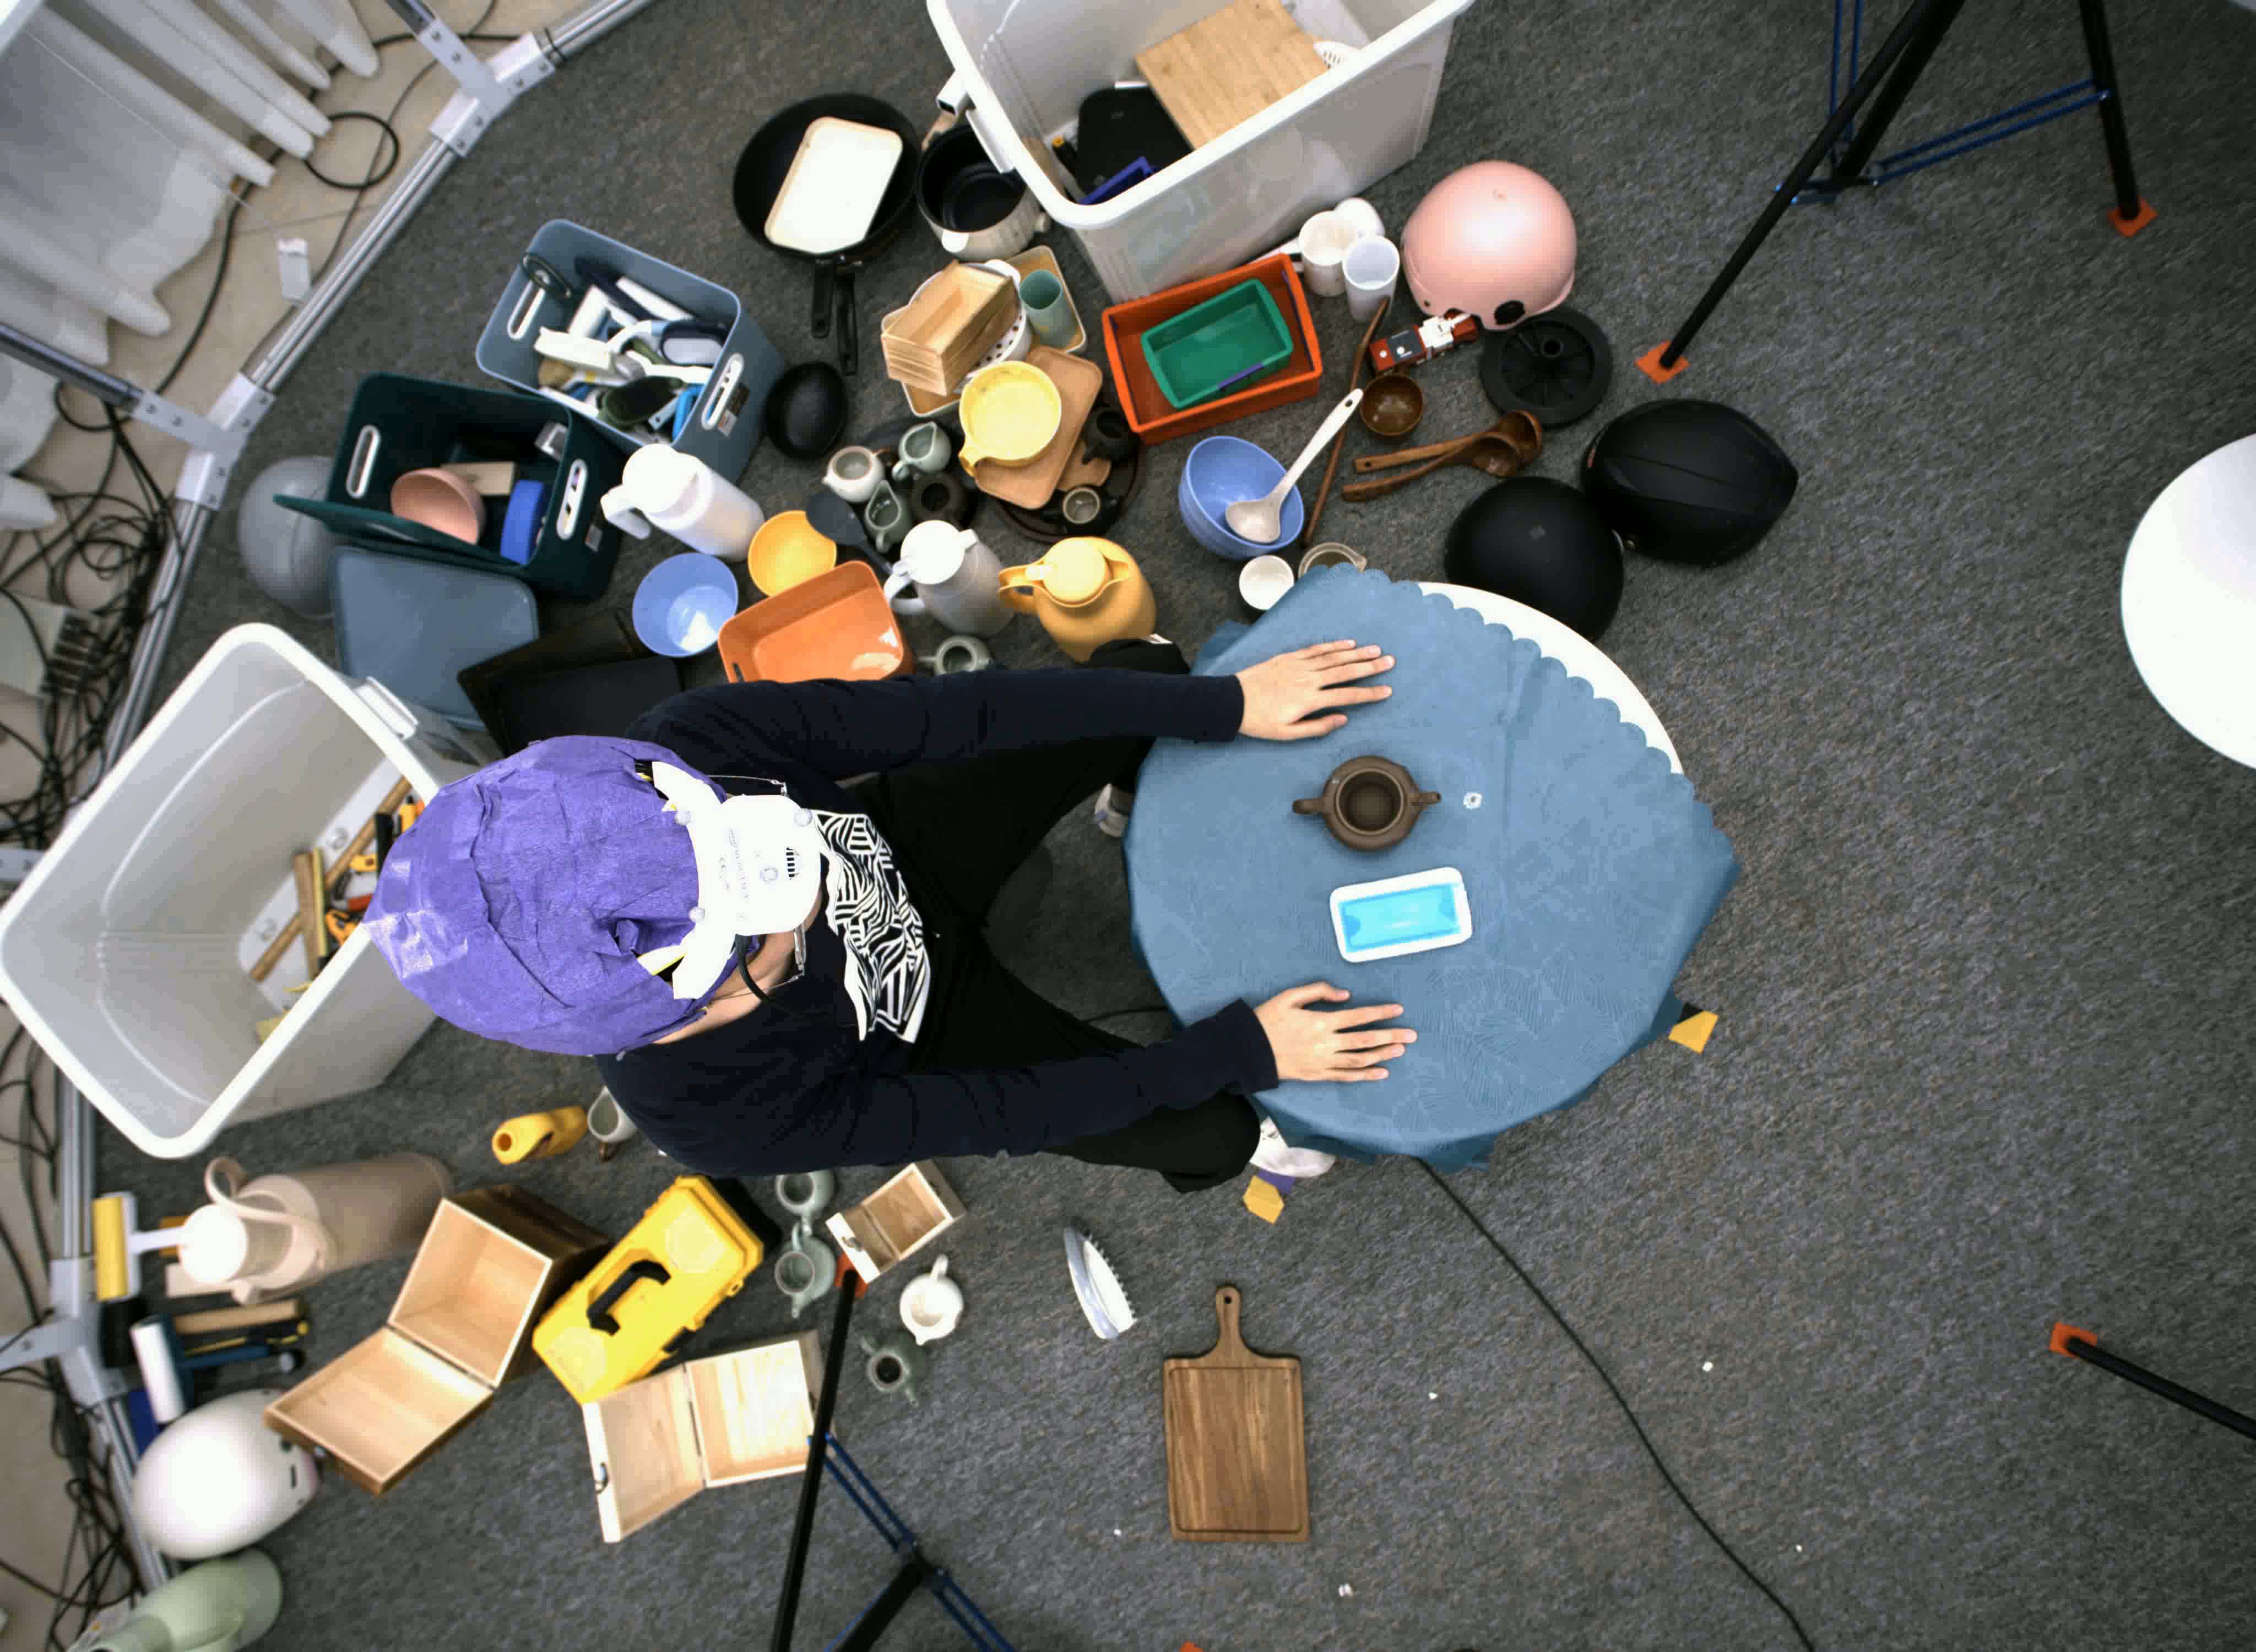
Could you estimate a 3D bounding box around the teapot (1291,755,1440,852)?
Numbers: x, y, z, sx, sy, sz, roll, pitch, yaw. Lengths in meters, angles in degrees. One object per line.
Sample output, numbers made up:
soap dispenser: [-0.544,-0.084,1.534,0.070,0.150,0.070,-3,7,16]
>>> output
teapot: [0.247,-0.024,1.441,0.154,0.054,0.102,-9,83,10]

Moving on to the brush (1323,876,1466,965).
brush: [0.275,0.093,1.426,0.144,0.056,0.083,-9,82,7]
